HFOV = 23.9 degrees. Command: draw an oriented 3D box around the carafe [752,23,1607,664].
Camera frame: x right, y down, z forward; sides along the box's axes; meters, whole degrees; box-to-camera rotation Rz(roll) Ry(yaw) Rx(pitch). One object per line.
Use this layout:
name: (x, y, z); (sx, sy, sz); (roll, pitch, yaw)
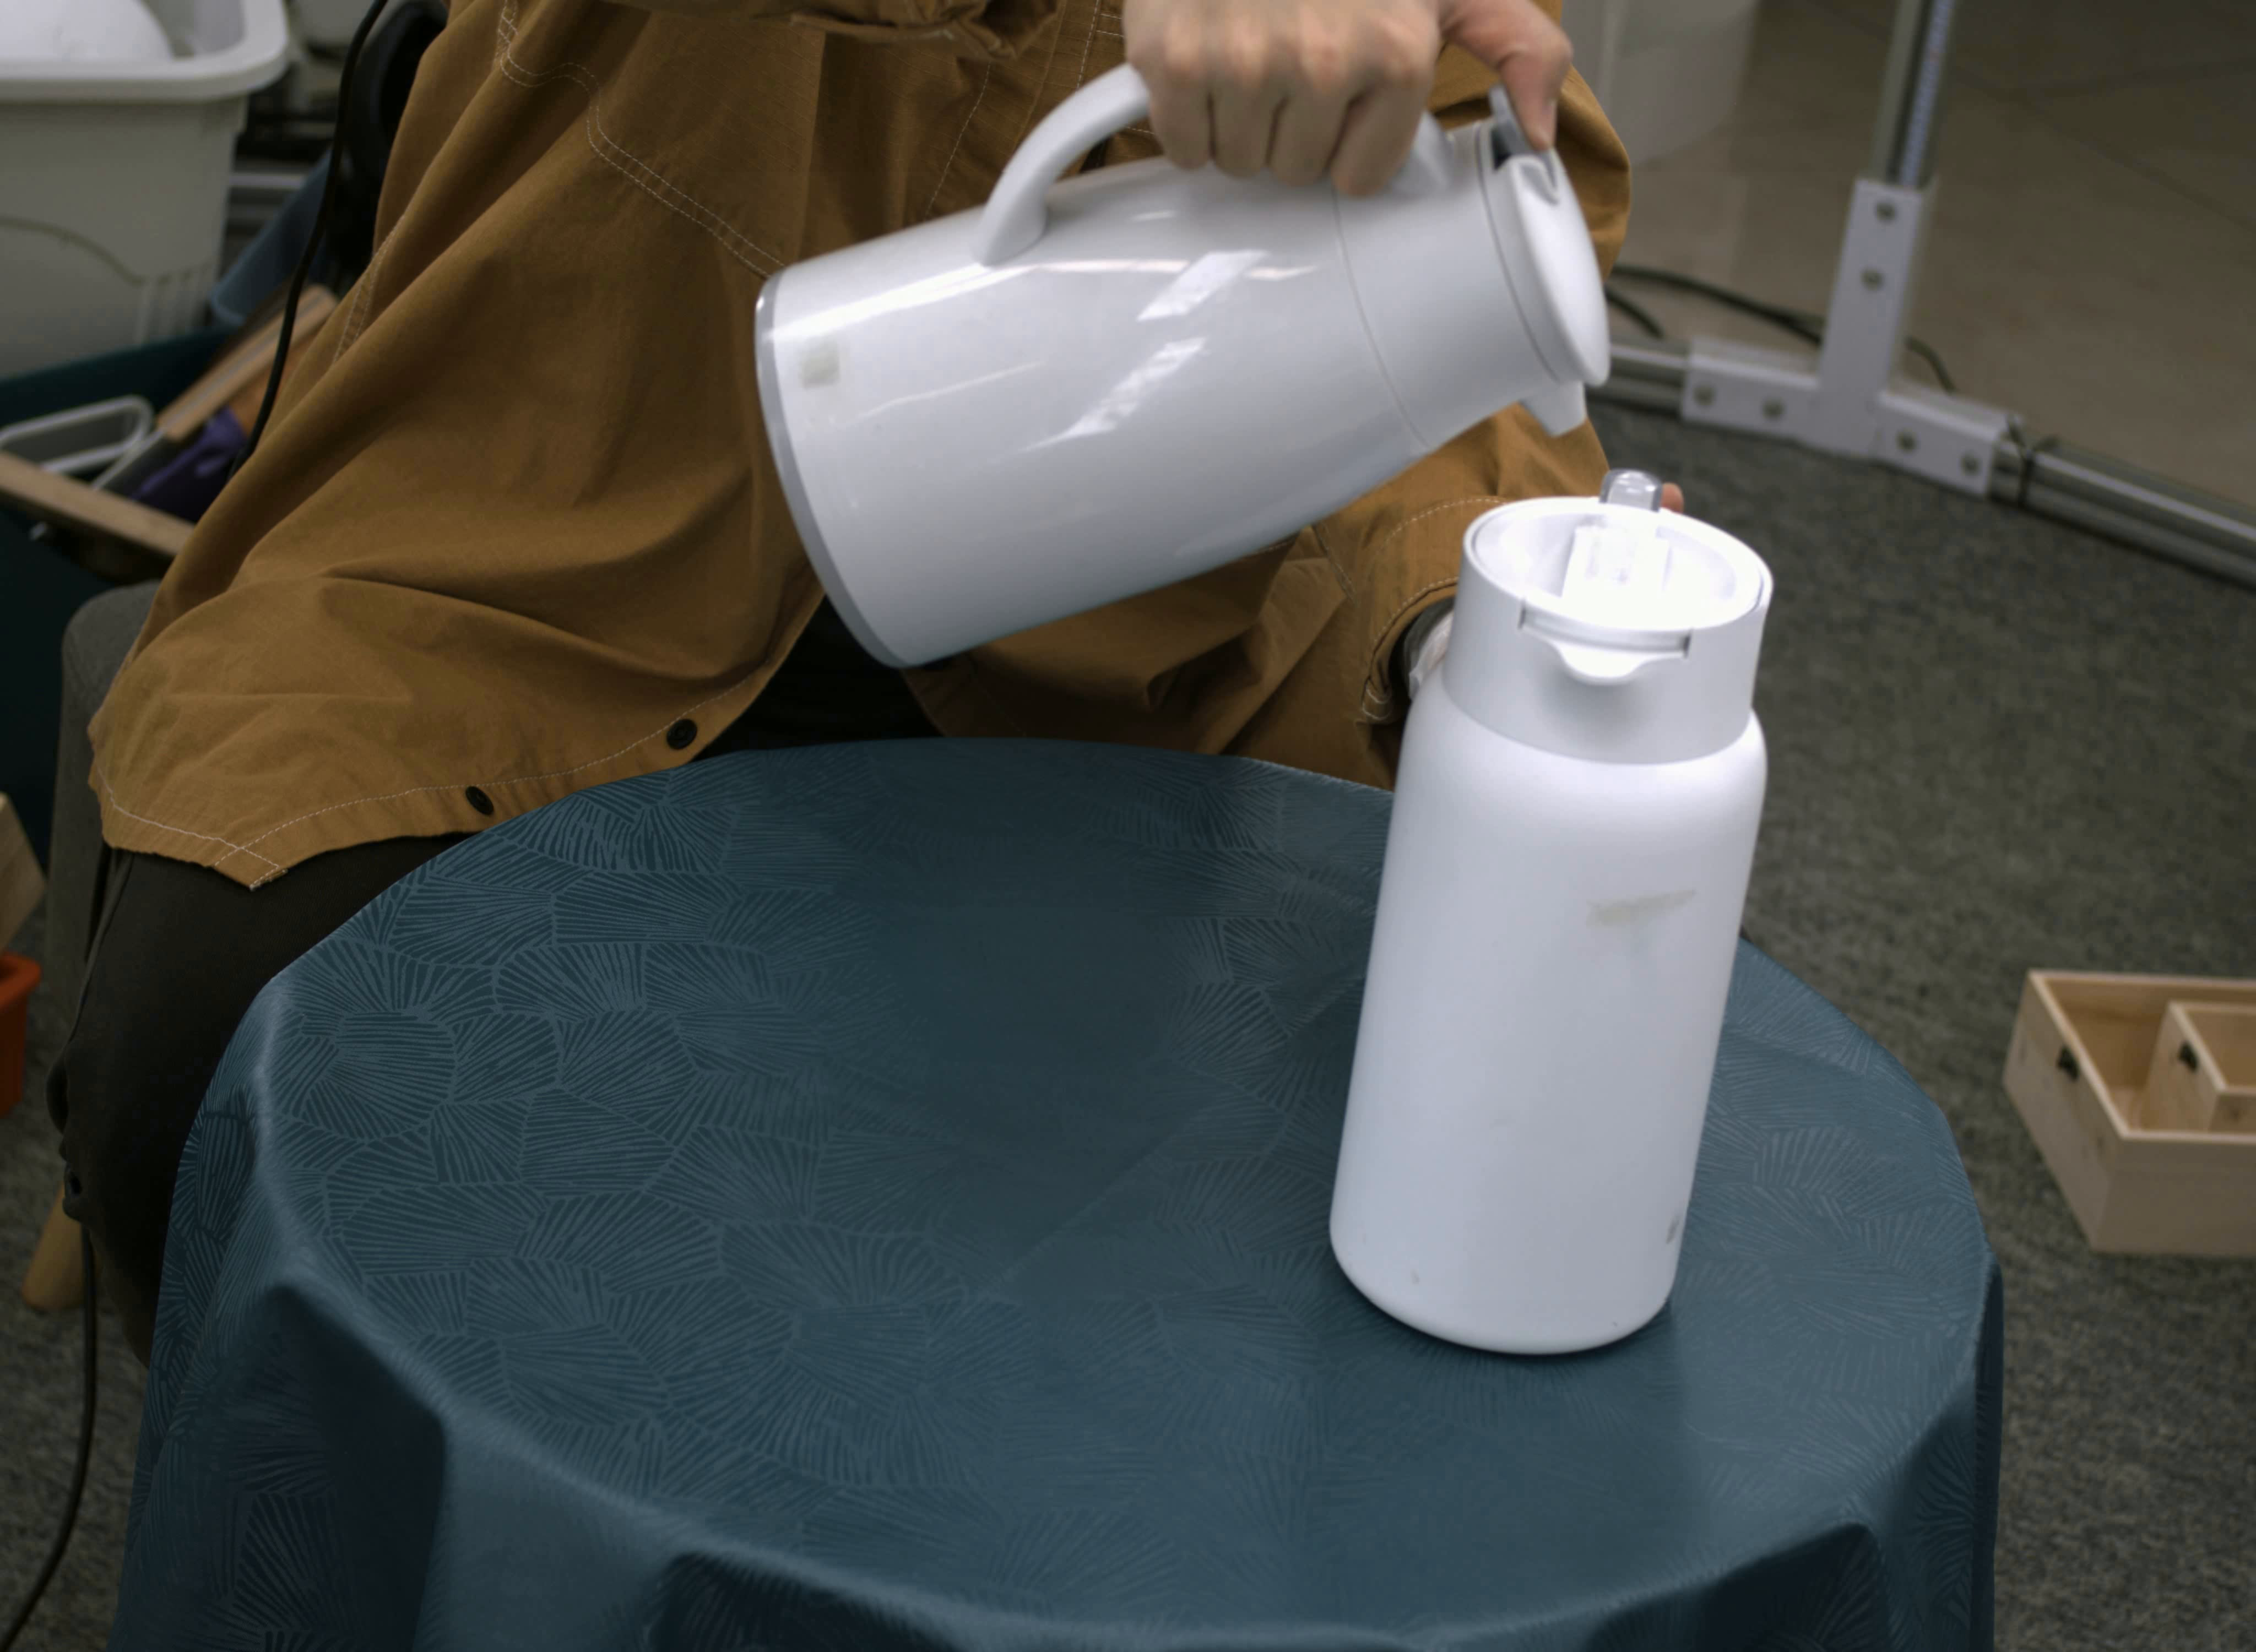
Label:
carafe: (0.015, -0.161, 1.633); (0.248, 0.166, 0.133); (-17, 38, 16)

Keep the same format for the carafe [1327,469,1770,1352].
carafe: (0.139, 0.024, 1.740); (0.123, 0.268, 0.173); (7, 26, 6)
